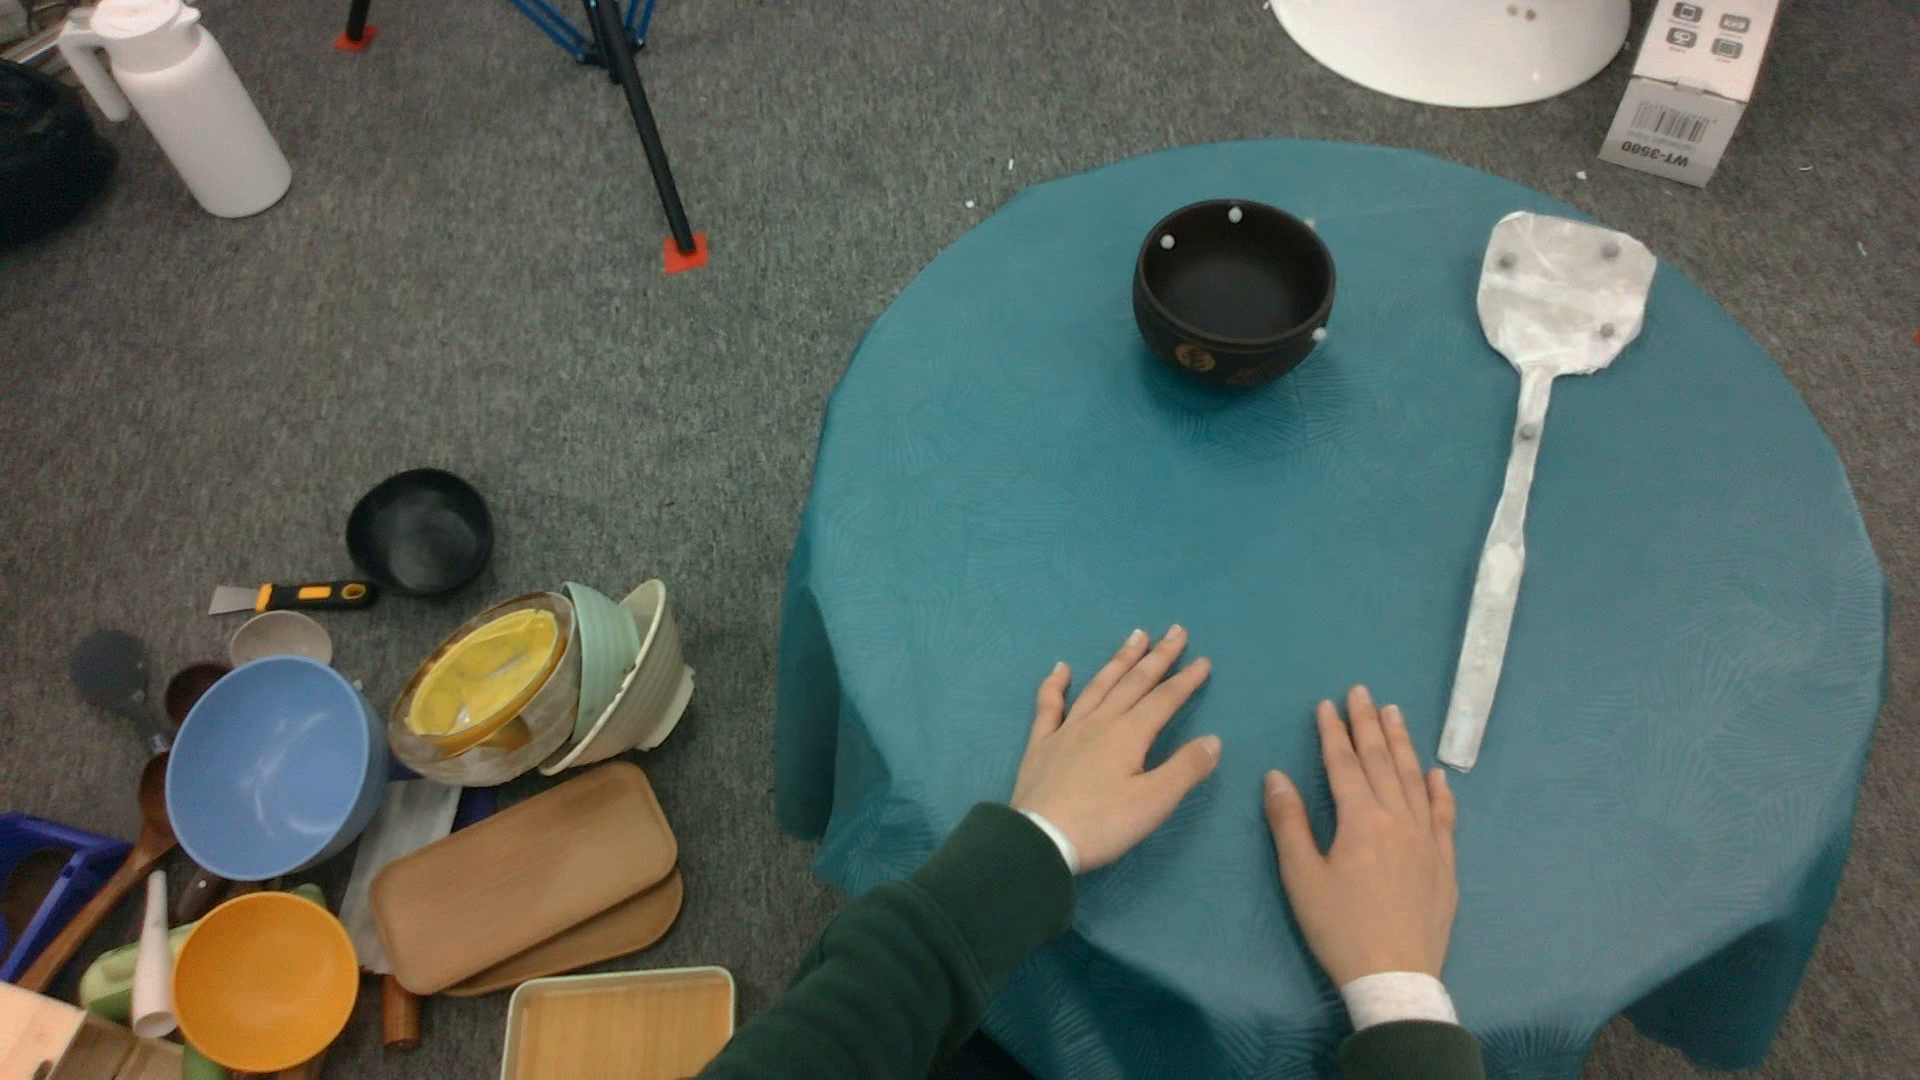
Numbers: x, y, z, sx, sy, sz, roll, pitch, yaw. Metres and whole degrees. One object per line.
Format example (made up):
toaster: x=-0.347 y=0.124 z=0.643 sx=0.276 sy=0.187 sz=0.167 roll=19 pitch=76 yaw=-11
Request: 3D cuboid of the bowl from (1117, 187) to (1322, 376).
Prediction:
bowl: x=0.153 y=-0.147 z=0.826 sx=0.118 sy=0.069 sz=0.118 roll=-1 pitch=58 yaw=2

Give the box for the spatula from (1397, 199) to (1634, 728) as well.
spatula: x=0.307 y=-0.053 z=0.785 sx=0.098 sy=0.044 sz=0.366 roll=20 pitch=60 yaw=10
